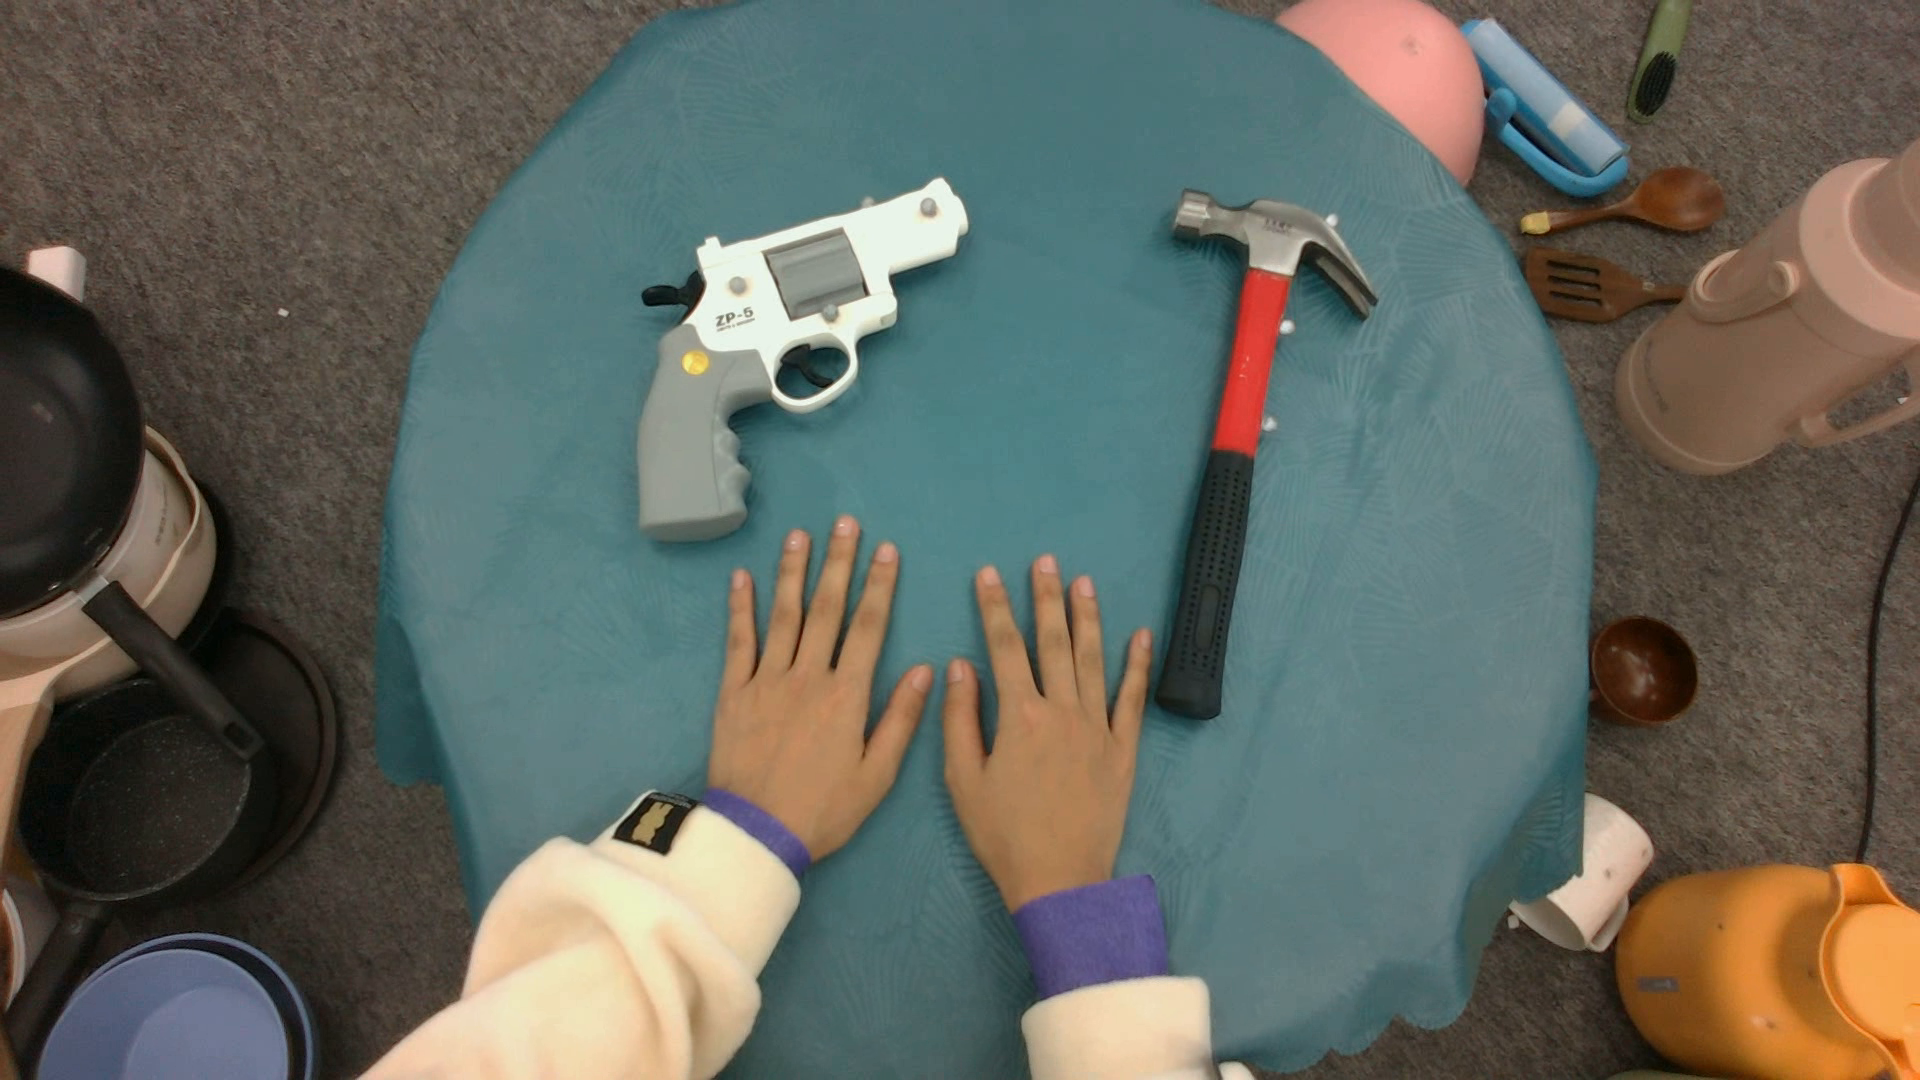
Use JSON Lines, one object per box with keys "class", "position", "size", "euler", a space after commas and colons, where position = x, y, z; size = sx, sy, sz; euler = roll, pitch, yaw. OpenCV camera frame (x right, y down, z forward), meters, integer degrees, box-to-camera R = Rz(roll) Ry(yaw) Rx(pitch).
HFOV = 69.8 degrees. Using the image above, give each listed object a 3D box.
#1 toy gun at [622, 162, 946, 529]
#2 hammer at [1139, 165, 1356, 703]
{"class": "toy gun", "position": [-0.085, -0.100, 0.680], "size": [0.209, 0.038, 0.142], "euler": [-23, 74, -12]}
{"class": "hammer", "position": [0.130, -0.054, 0.688], "size": [0.111, 0.026, 0.278], "euler": [16, 72, -8]}
